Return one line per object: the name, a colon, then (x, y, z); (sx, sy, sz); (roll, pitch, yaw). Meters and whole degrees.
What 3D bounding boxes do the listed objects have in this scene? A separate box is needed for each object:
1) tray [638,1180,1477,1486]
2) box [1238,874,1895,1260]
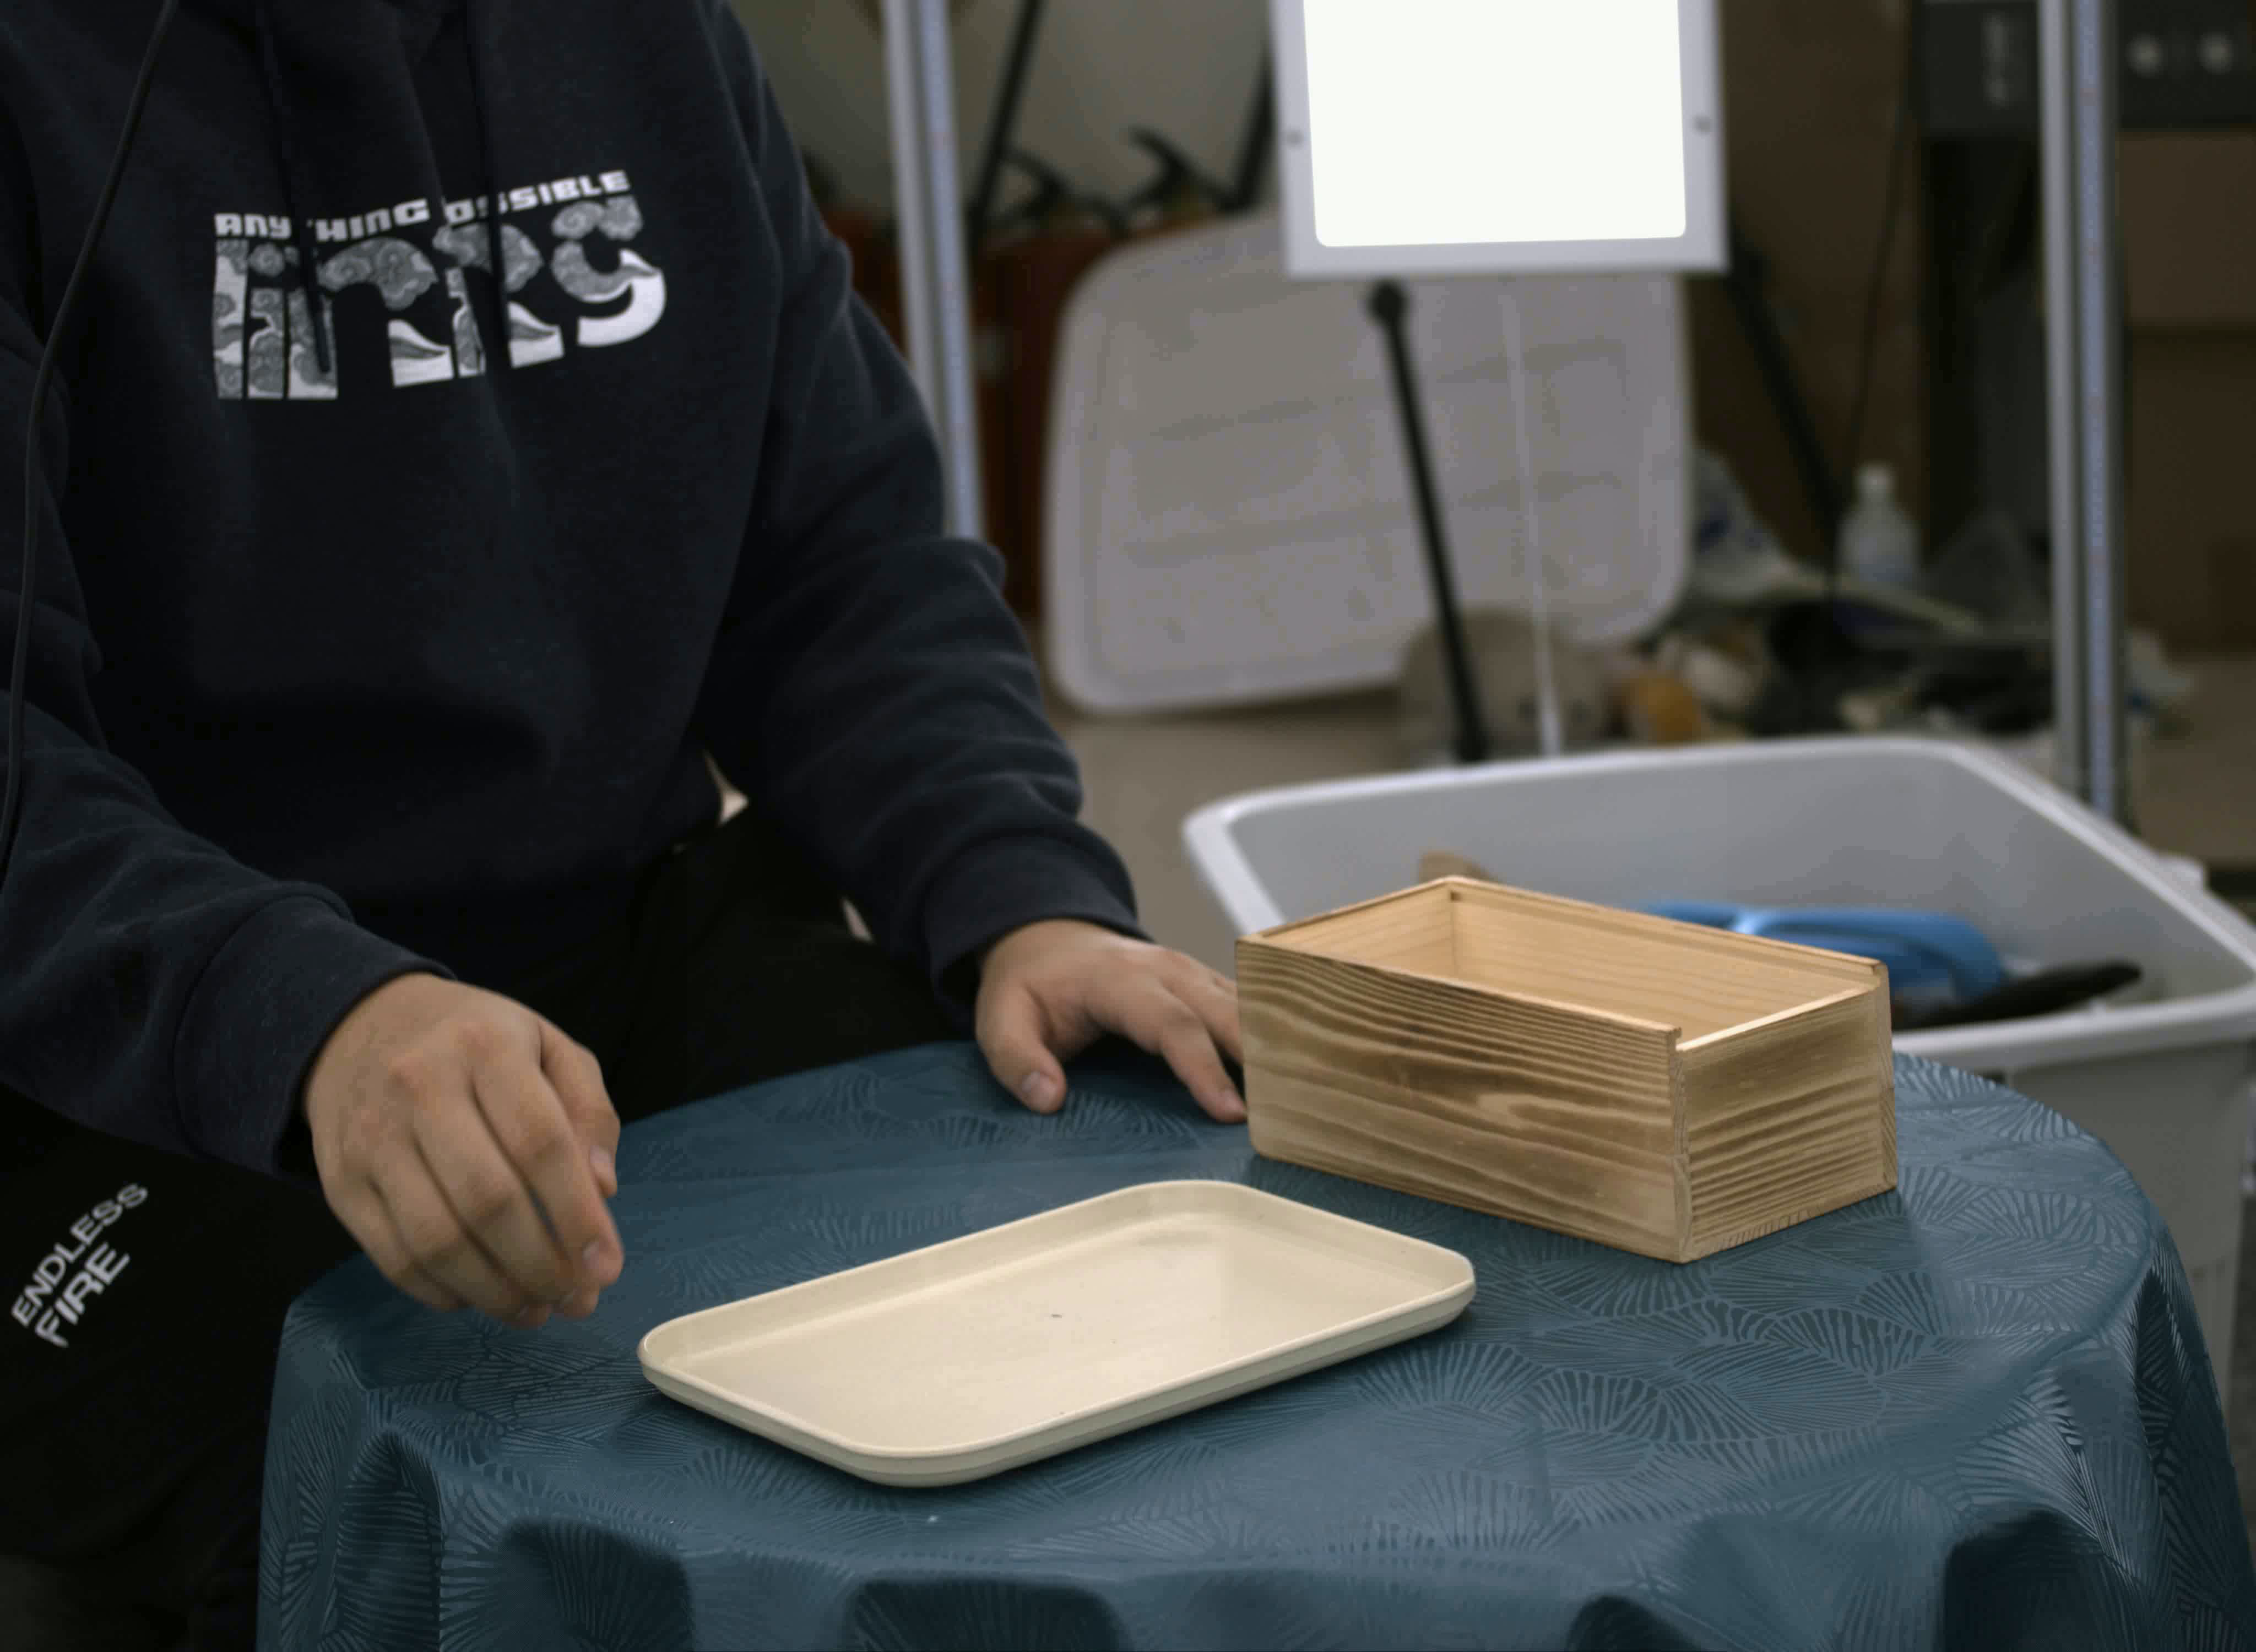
tray: (-0.021, 0.159, 1.736); (0.234, 0.017, 0.175); (-14, 16, -34)
box: (0.148, 0.079, 1.873); (0.105, 0.080, 0.216); (-15, 16, -37)
